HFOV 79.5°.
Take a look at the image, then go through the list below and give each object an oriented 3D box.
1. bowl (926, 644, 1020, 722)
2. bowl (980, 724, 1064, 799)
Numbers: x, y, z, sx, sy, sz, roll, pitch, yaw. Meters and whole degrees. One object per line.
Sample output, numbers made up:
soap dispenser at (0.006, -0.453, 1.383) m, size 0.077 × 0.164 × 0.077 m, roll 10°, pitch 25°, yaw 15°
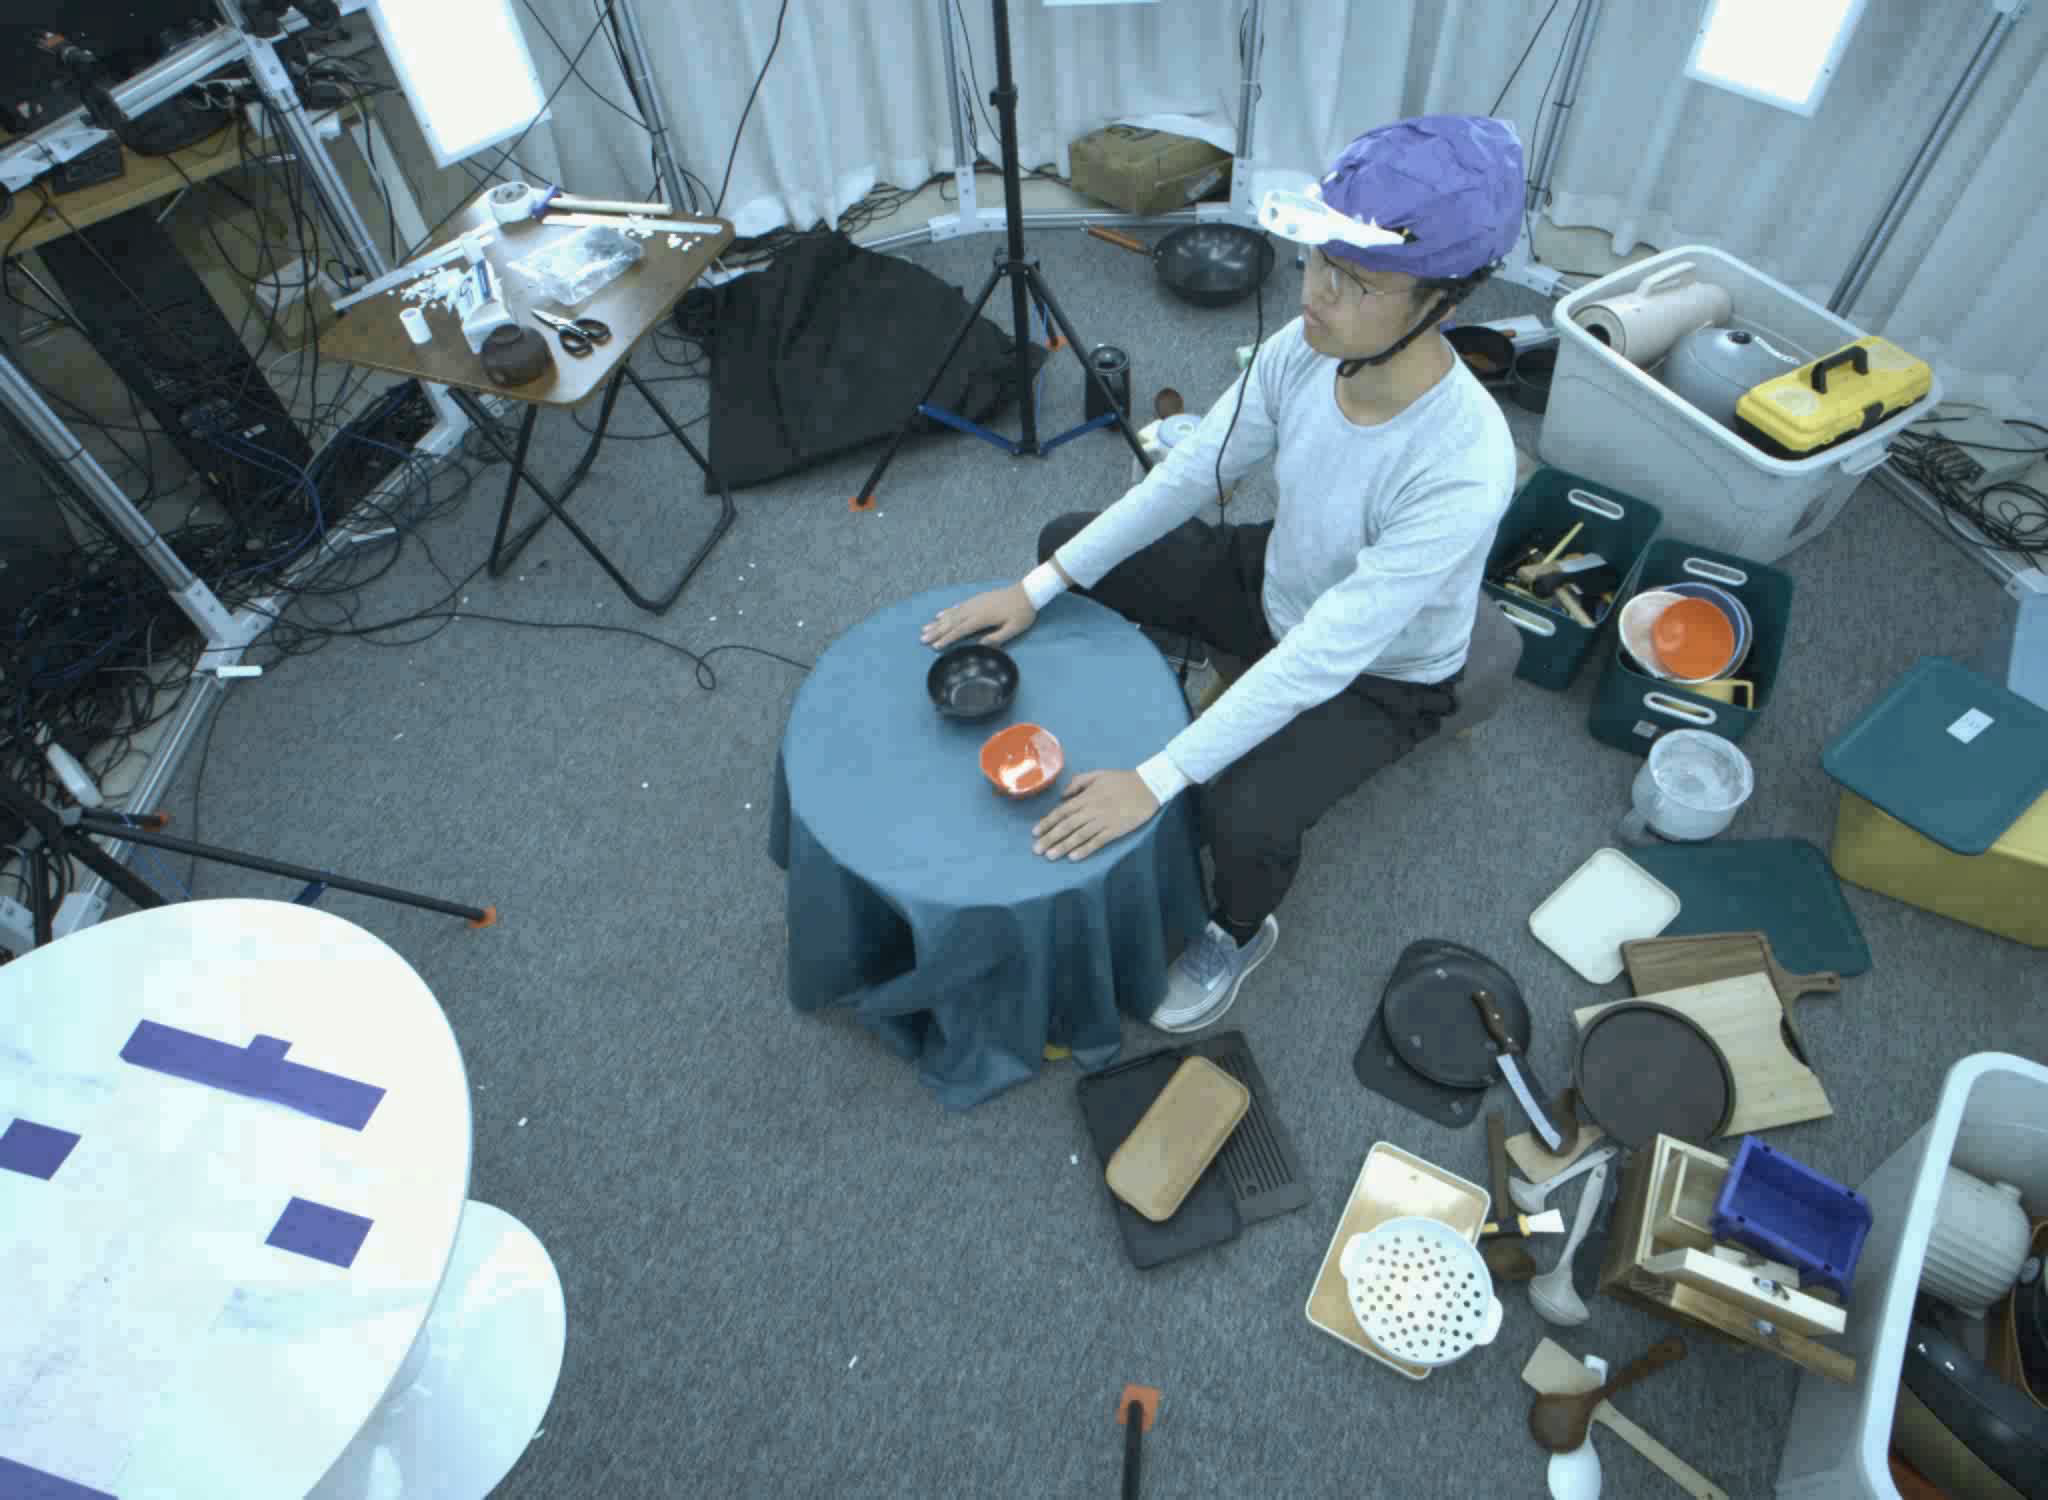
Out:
bowl at (-0.075, -0.091, 1.834) m, size 0.140 × 0.050 × 0.138 m, roll 1°, pitch 54°, yaw -1°
bowl at (-0.001, 0.025, 1.744) m, size 0.119 × 0.052 × 0.117 m, roll -1°, pitch 54°, yaw 3°
